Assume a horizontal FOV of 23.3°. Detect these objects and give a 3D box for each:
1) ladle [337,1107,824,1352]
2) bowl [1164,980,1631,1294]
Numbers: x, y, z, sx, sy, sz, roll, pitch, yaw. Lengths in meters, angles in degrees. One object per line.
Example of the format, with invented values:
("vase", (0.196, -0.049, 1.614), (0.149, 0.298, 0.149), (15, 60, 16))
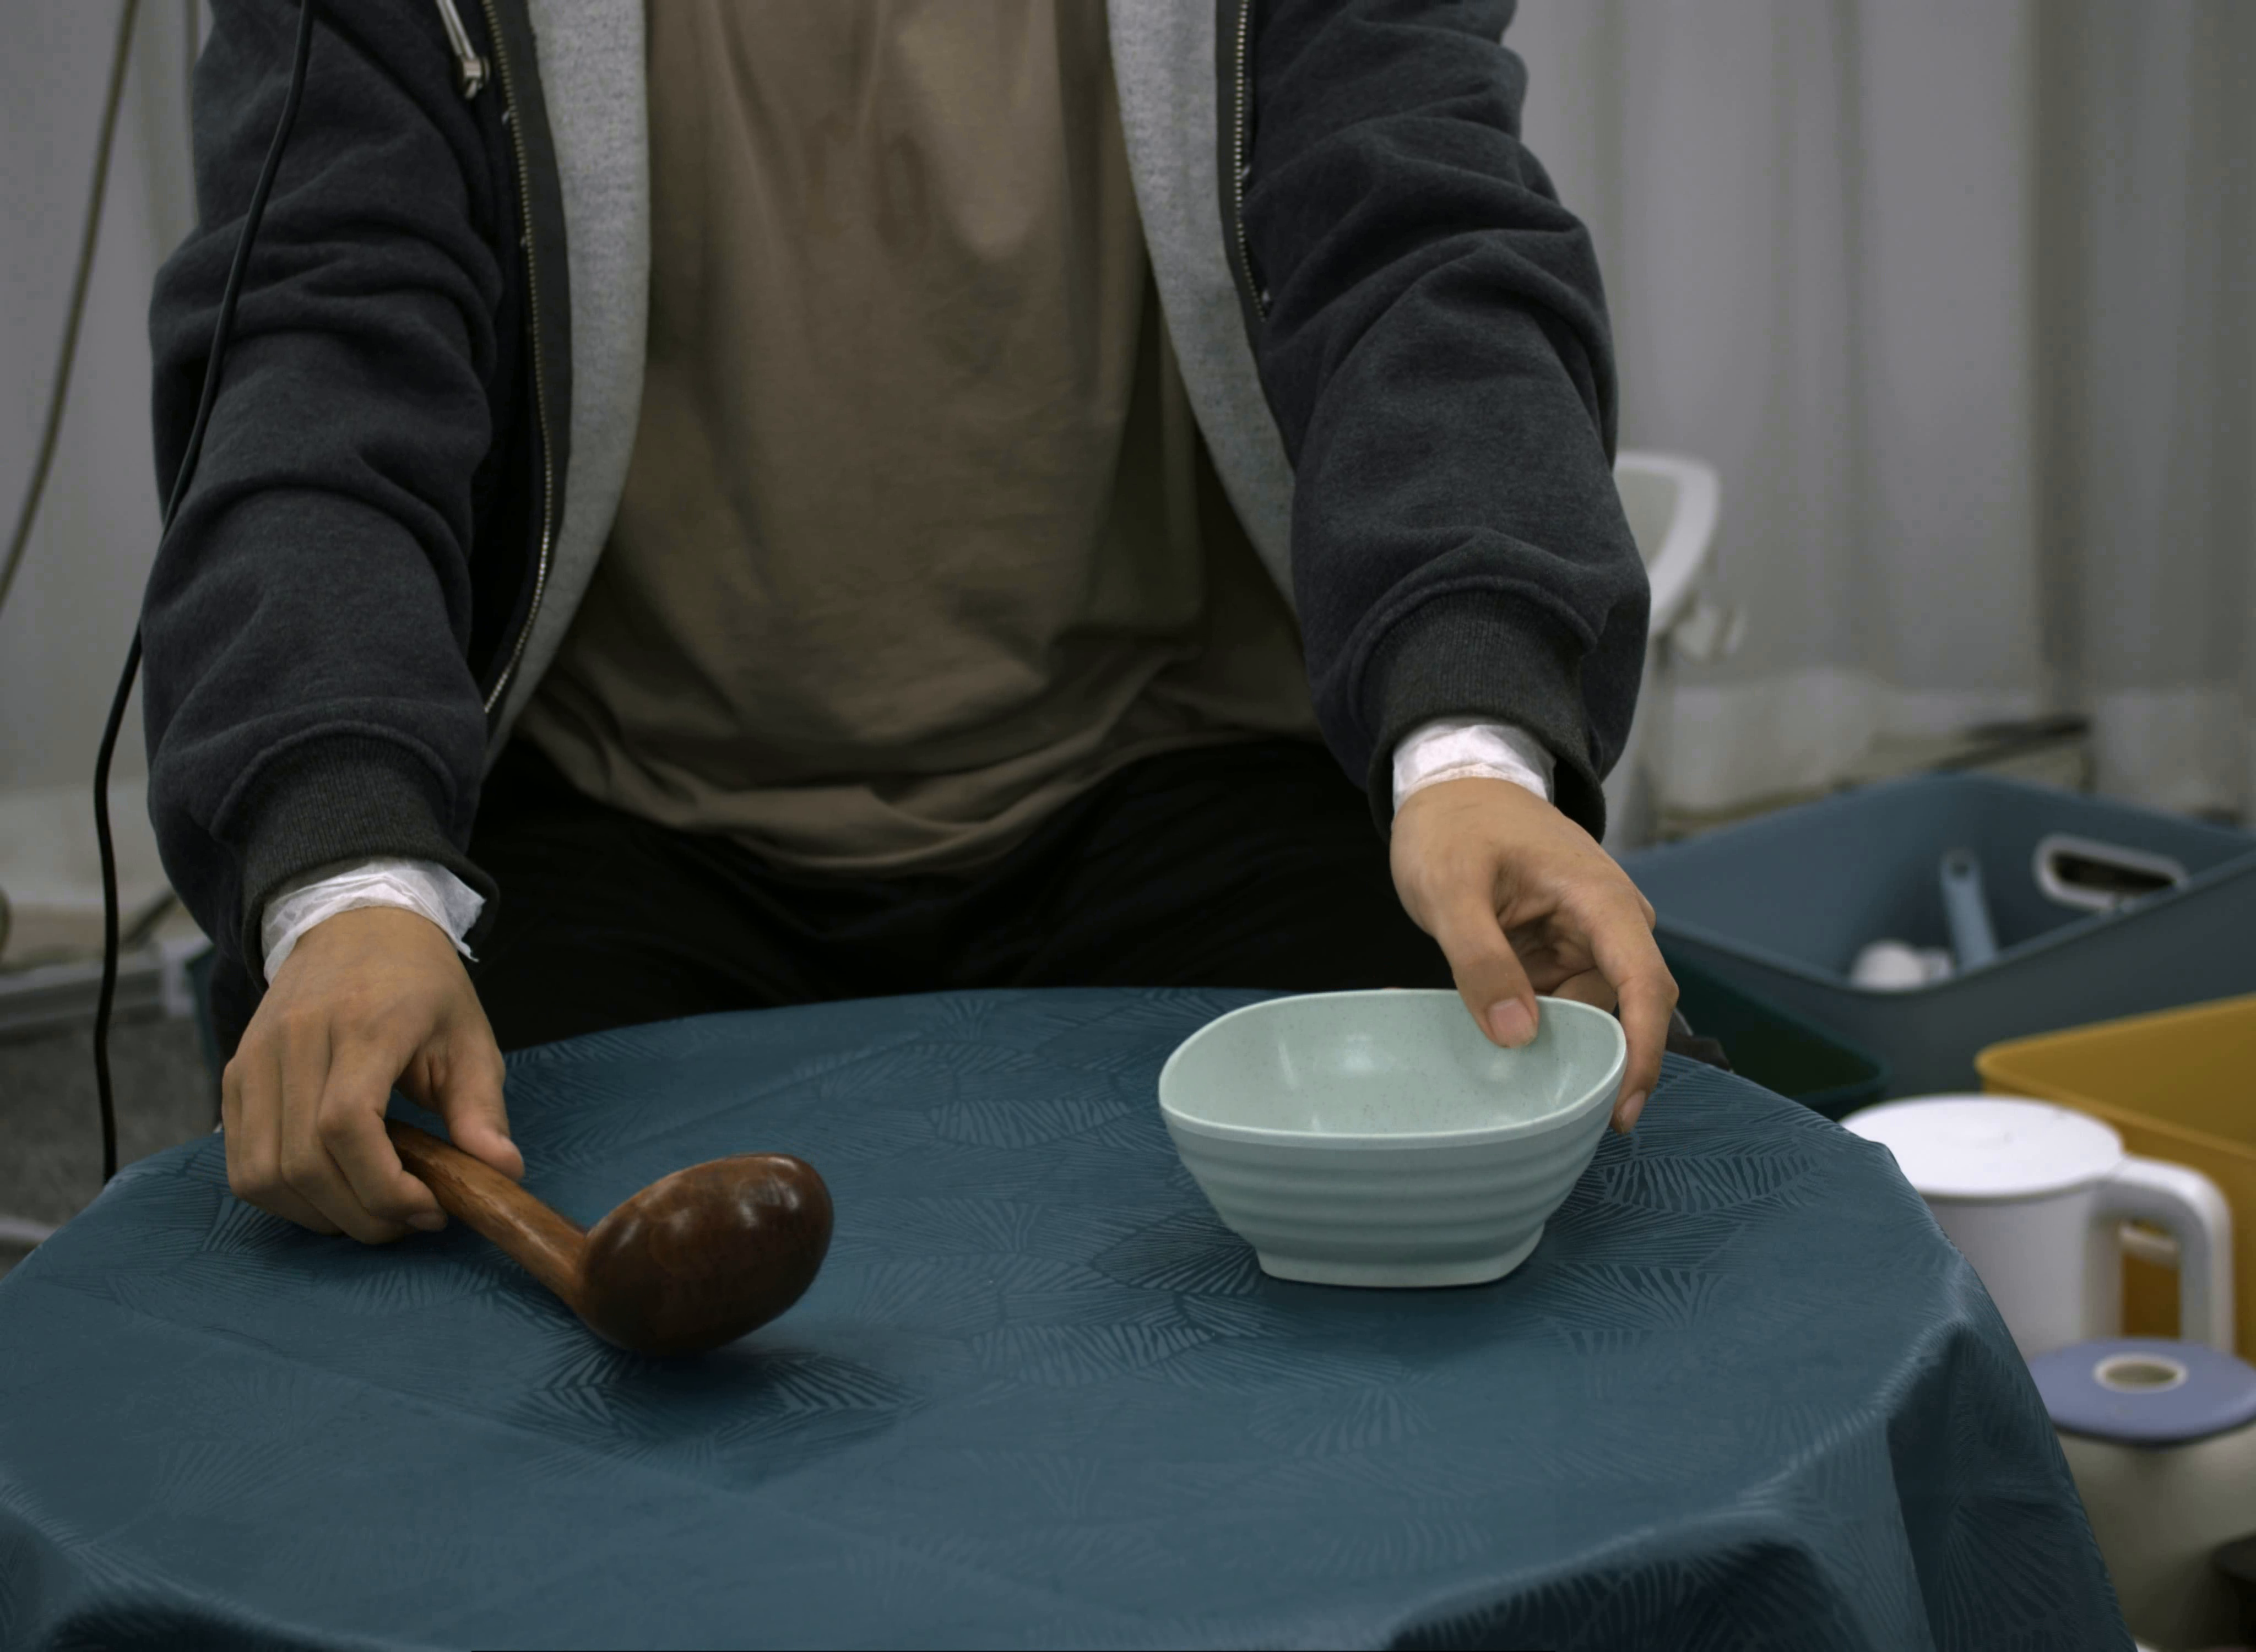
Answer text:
("ladle", (-0.180, 0.097, 1.654), (0.081, 0.076, 0.276), (-4, 15, -31))
("bowl", (0.083, 0.097, 1.648), (0.151, 0.058, 0.153), (-4, 18, 1))
